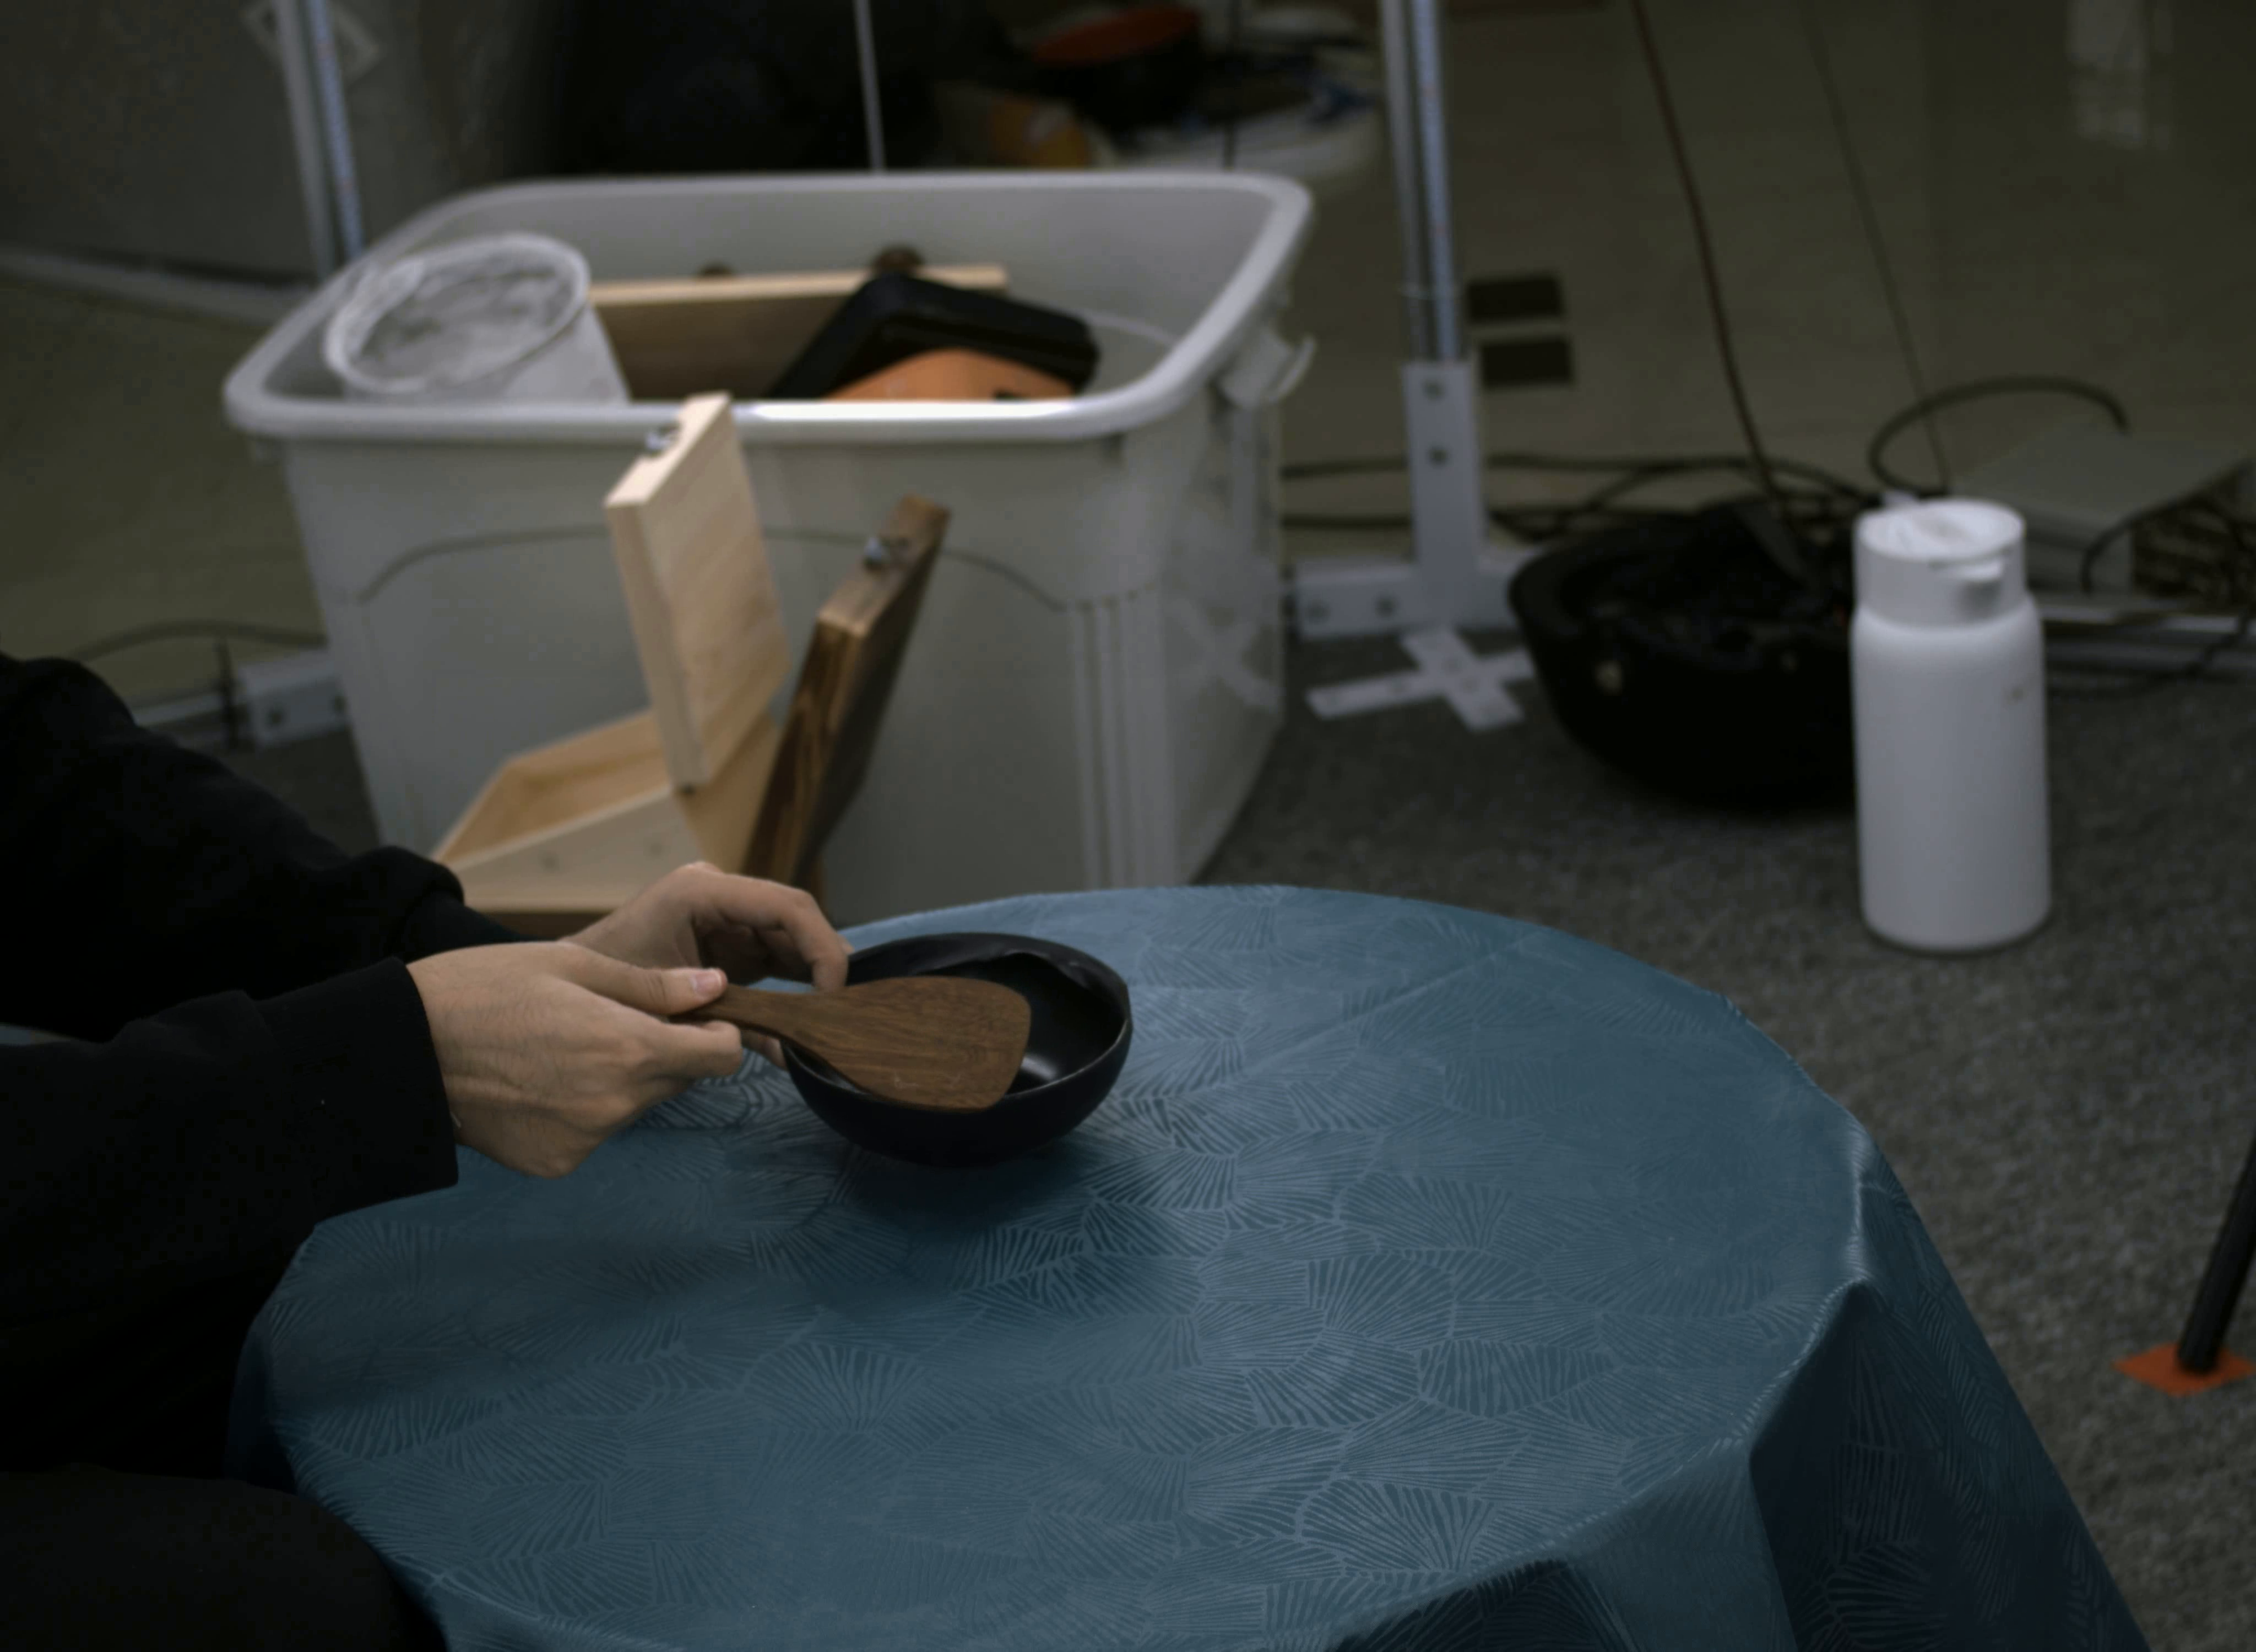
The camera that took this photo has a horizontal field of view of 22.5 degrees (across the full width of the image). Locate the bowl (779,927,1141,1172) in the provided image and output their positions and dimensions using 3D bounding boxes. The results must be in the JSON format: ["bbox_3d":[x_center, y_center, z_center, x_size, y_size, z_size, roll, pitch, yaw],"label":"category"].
[{"bbox_3d":[-0.064,0.095,2.197,0.140,0.050,0.138,-2,30,1],"label":"bowl"}]

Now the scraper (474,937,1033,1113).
[{"bbox_3d":[-0.141,0.068,2.121,0.211,0.011,0.074,10,40,6],"label":"scraper"}]
